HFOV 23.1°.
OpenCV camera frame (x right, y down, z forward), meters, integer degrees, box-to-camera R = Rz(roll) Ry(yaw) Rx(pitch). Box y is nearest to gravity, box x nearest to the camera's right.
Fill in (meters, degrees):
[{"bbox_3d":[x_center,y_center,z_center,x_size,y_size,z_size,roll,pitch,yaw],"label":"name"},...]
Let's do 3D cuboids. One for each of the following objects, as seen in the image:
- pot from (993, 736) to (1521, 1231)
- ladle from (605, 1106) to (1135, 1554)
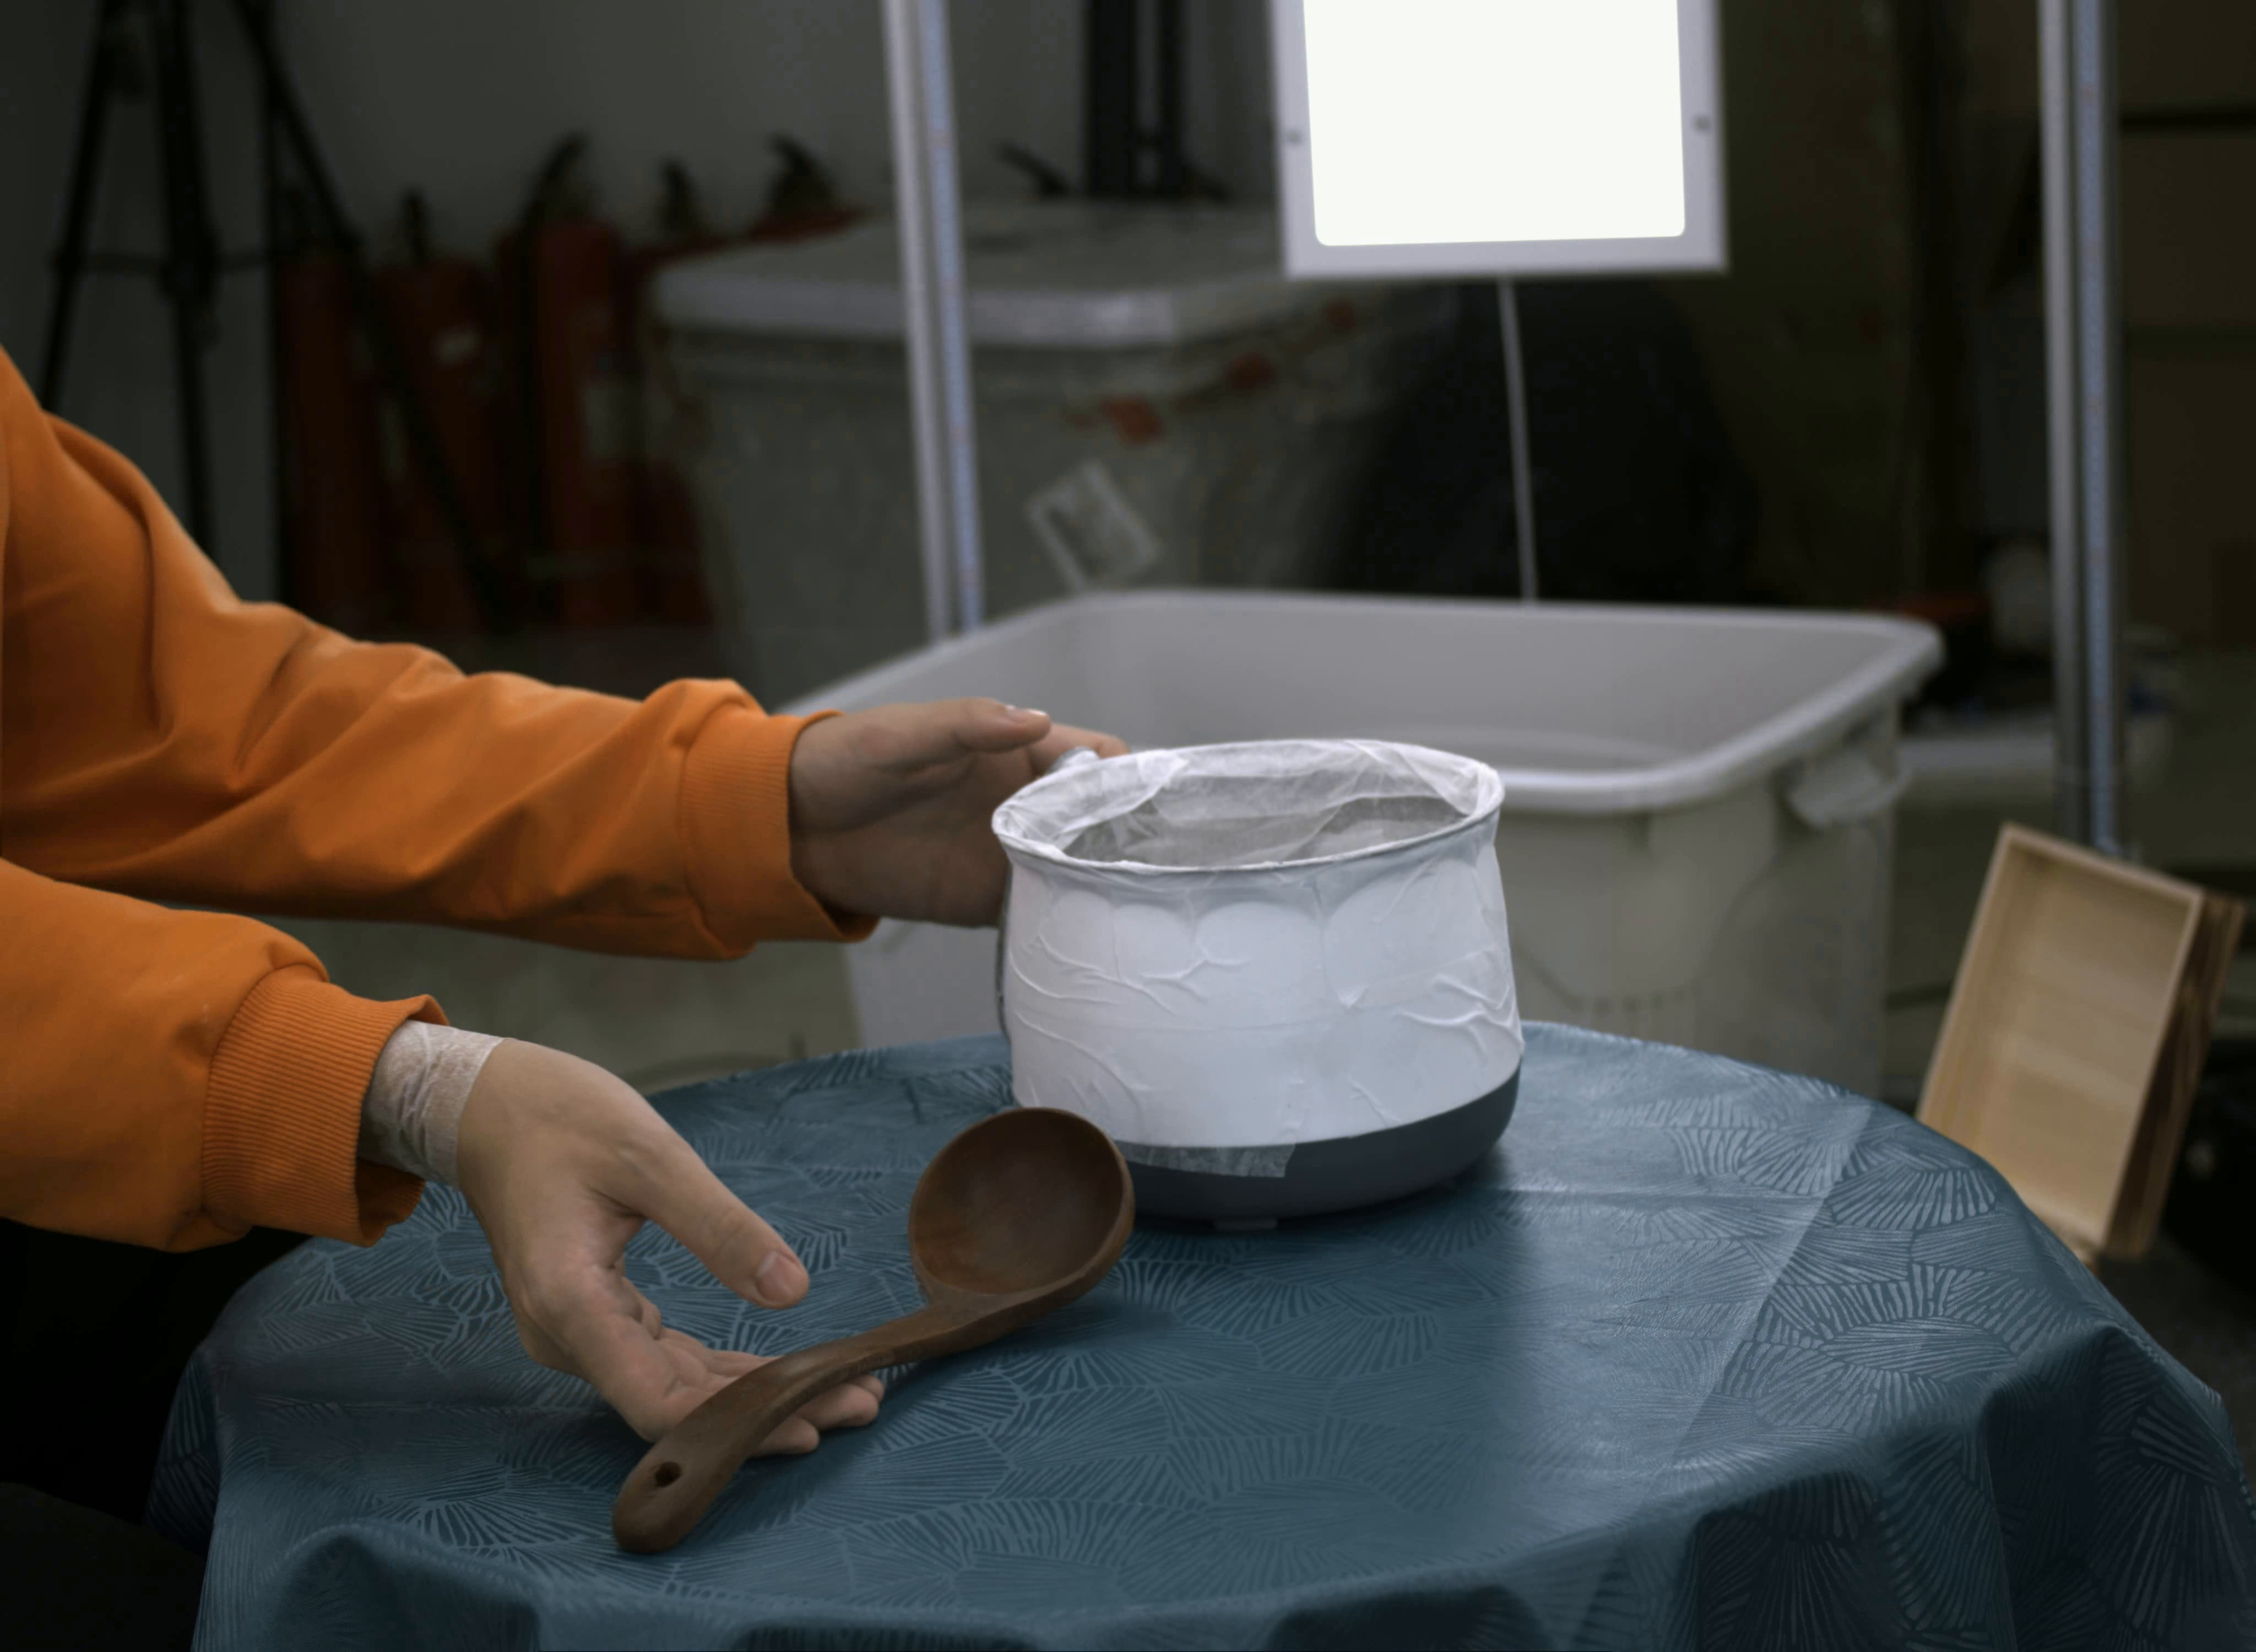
[{"bbox_3d":[0.029,0.048,1.915,0.174,0.137,0.238,-14,17,-34],"label":"pot"},{"bbox_3d":[-0.082,0.150,1.696,0.078,0.065,0.254,5,17,31],"label":"ladle"}]
